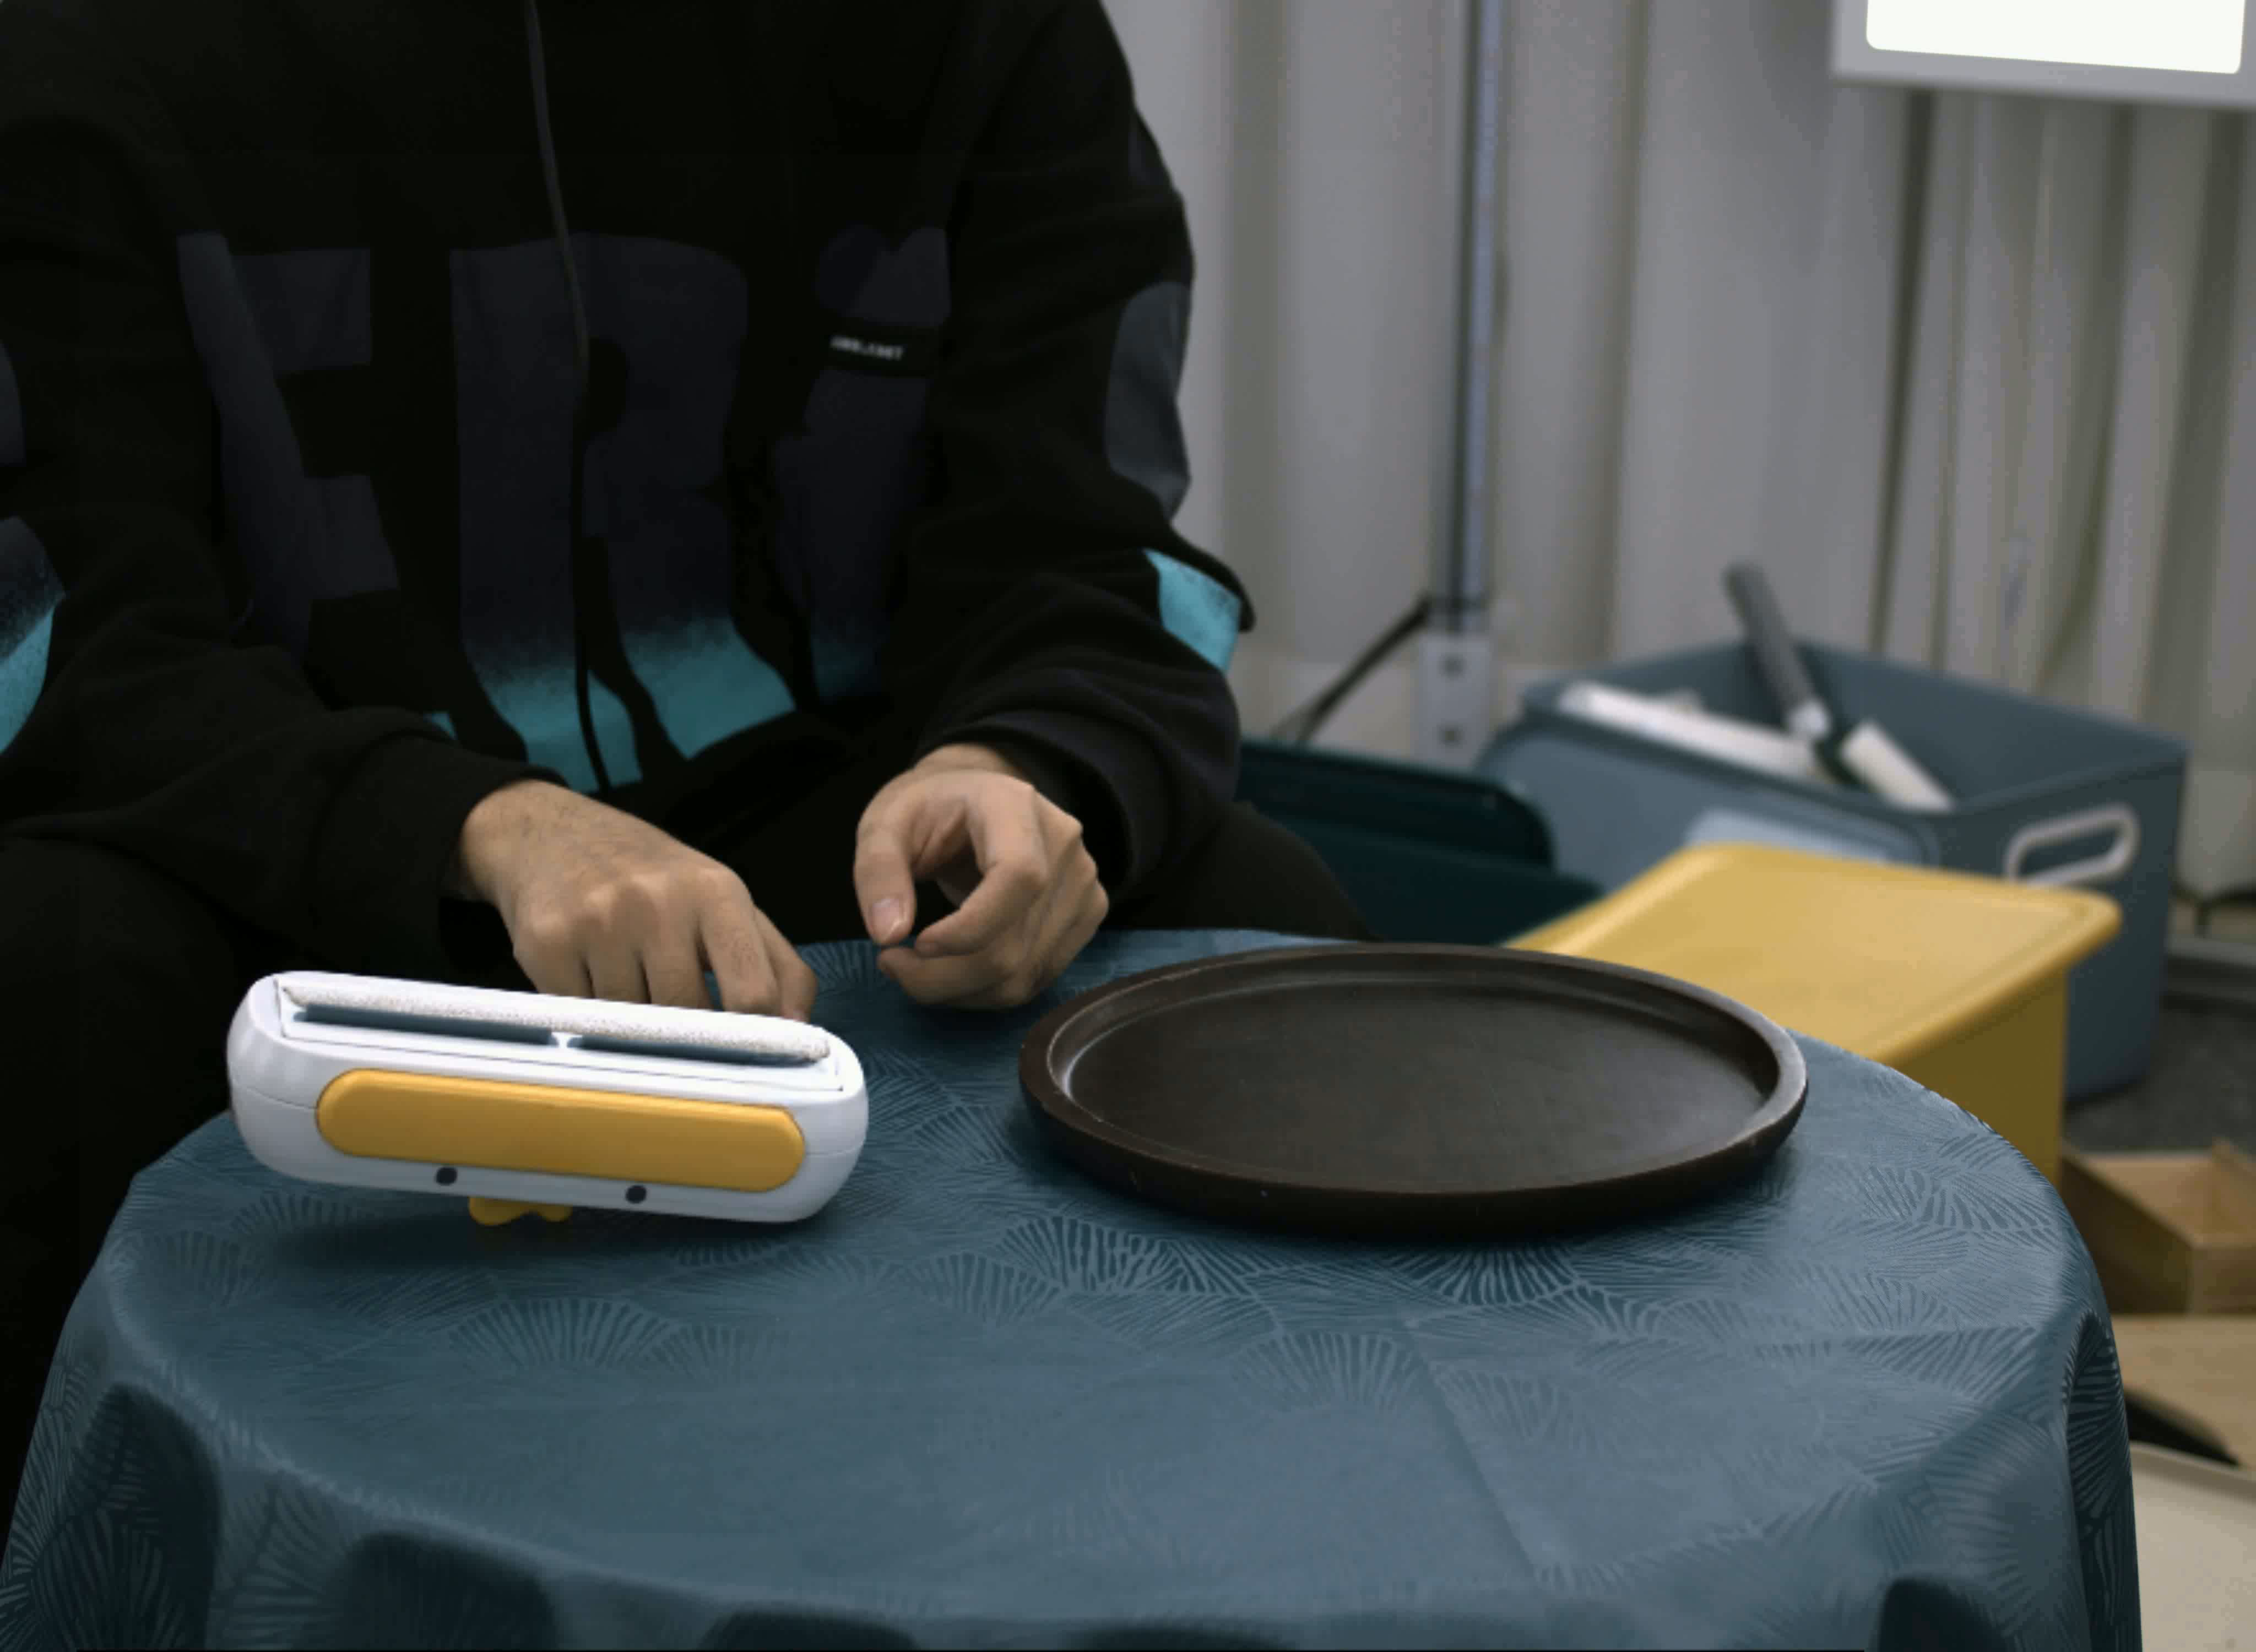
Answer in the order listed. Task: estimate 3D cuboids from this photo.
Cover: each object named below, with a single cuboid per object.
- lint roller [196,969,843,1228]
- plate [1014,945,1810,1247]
[{"bbox_3d":[-0.191,0.074,1.627,0.193,0.075,0.191,3,13,-11],"label":"lint roller"},{"bbox_3d":[0.090,0.084,1.682,0.254,0.029,0.253,0,15,1],"label":"plate"}]
